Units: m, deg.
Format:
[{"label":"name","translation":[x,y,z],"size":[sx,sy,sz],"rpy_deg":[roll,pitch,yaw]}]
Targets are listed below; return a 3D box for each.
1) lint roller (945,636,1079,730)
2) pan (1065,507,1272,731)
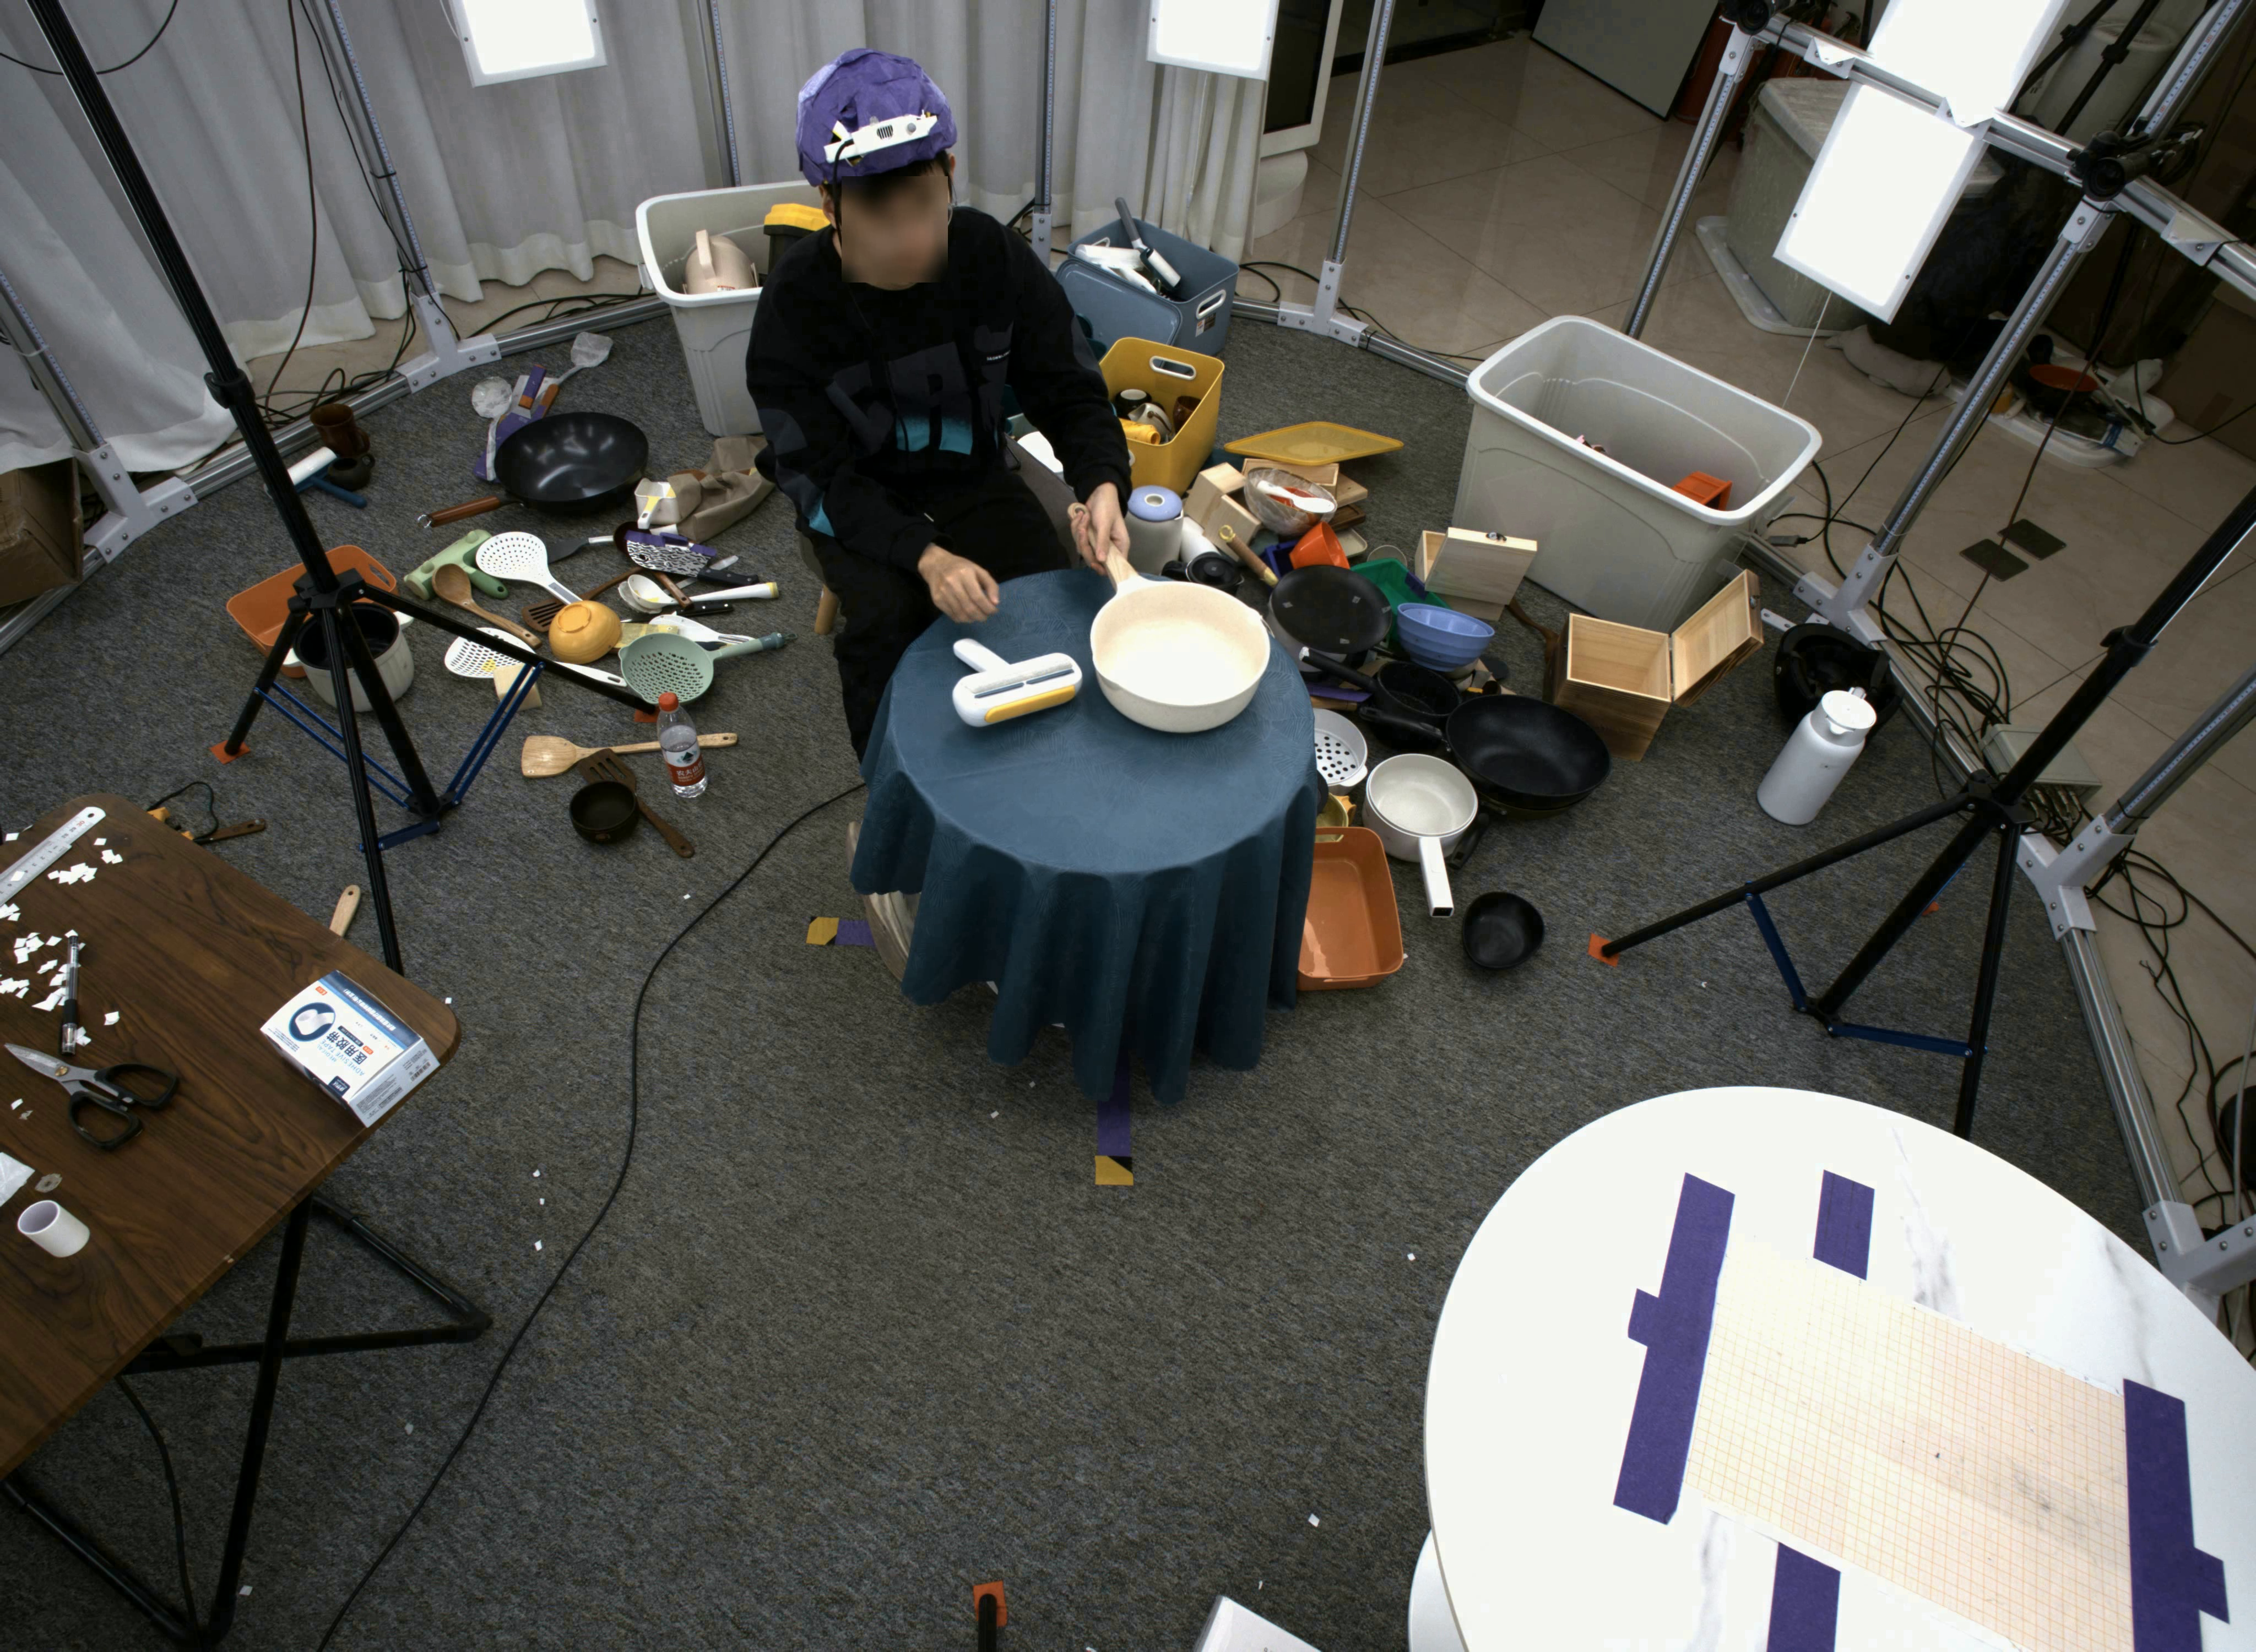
[{"label":"lint roller","translation":[-0.188,-0.219,1.803],"size":[0.193,0.072,0.196],"rpy_deg":[-19,51,-26]},{"label":"pan","translation":[0.028,-0.304,1.869],"size":[0.264,0.099,0.444],"rpy_deg":[-24,55,-19]}]
